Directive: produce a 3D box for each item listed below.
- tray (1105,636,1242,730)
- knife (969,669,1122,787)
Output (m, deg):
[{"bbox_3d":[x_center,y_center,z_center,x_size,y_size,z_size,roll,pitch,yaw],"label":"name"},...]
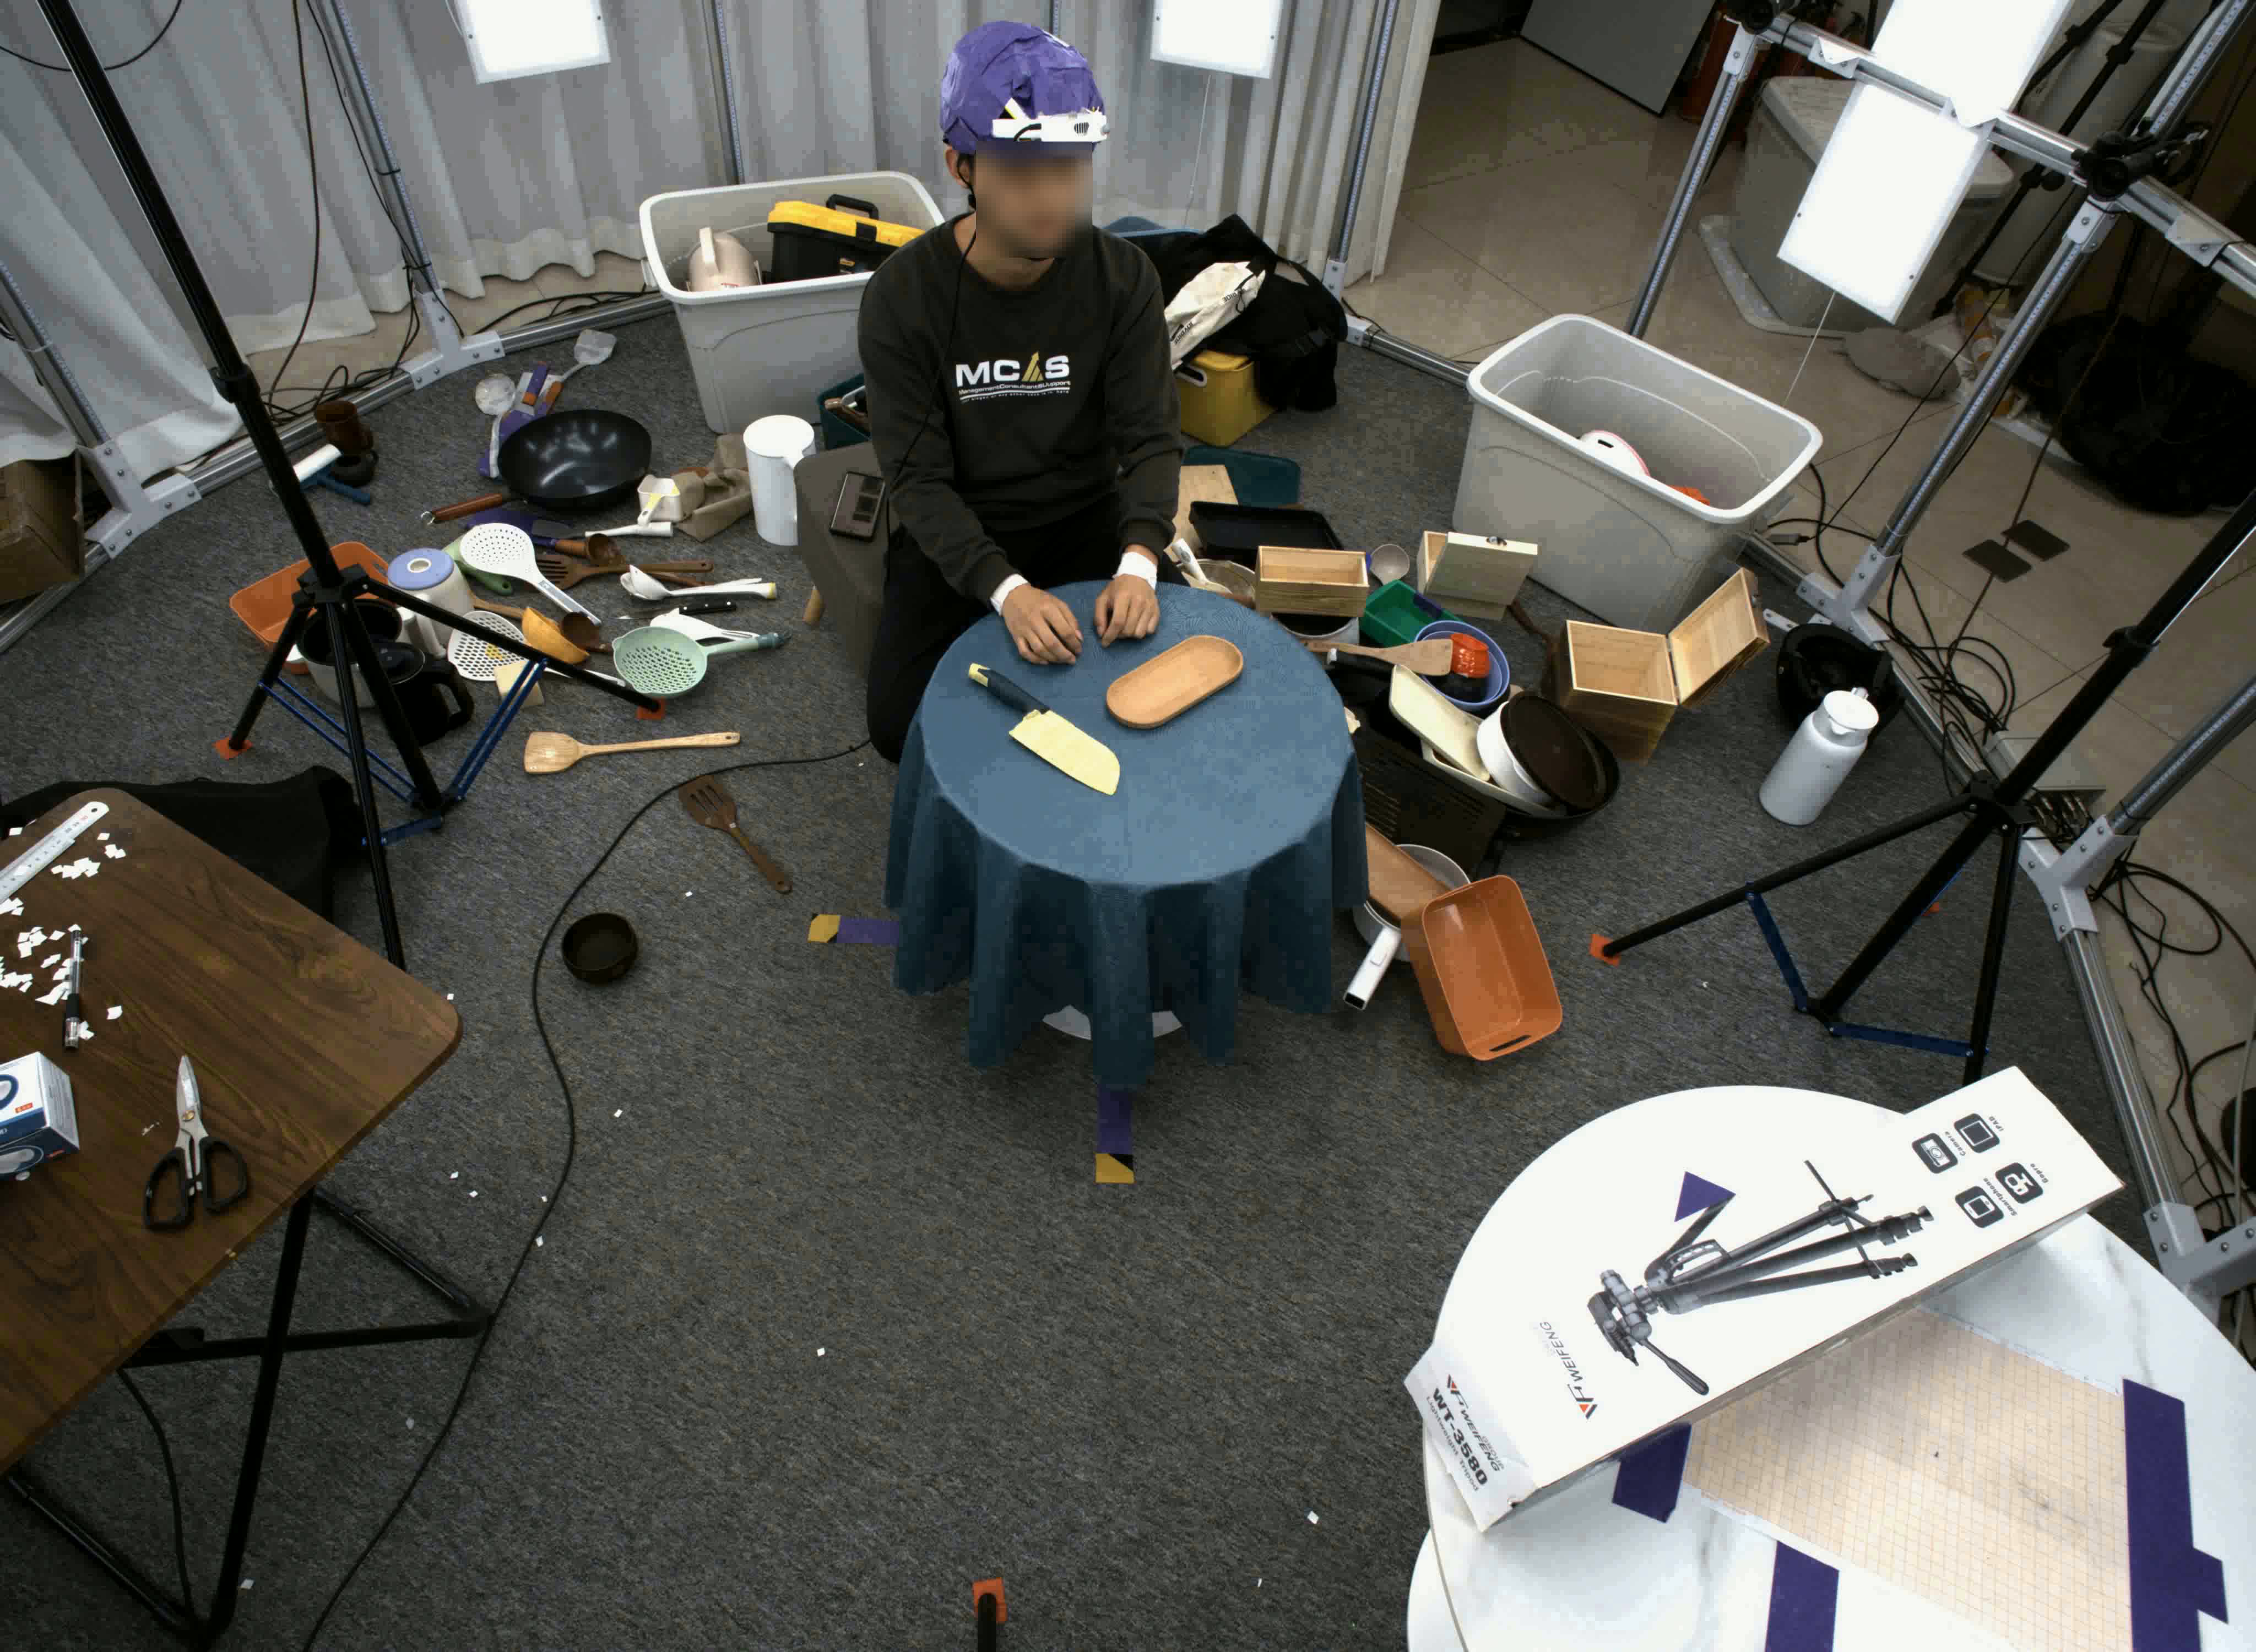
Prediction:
[{"bbox_3d":[0.067,-0.206,1.840,0.233,0.020,0.103,-34,58,-27],"label":"tray"},{"bbox_3d":[-0.121,-0.135,1.767,0.293,0.026,0.082,36,54,23],"label":"knife"}]
